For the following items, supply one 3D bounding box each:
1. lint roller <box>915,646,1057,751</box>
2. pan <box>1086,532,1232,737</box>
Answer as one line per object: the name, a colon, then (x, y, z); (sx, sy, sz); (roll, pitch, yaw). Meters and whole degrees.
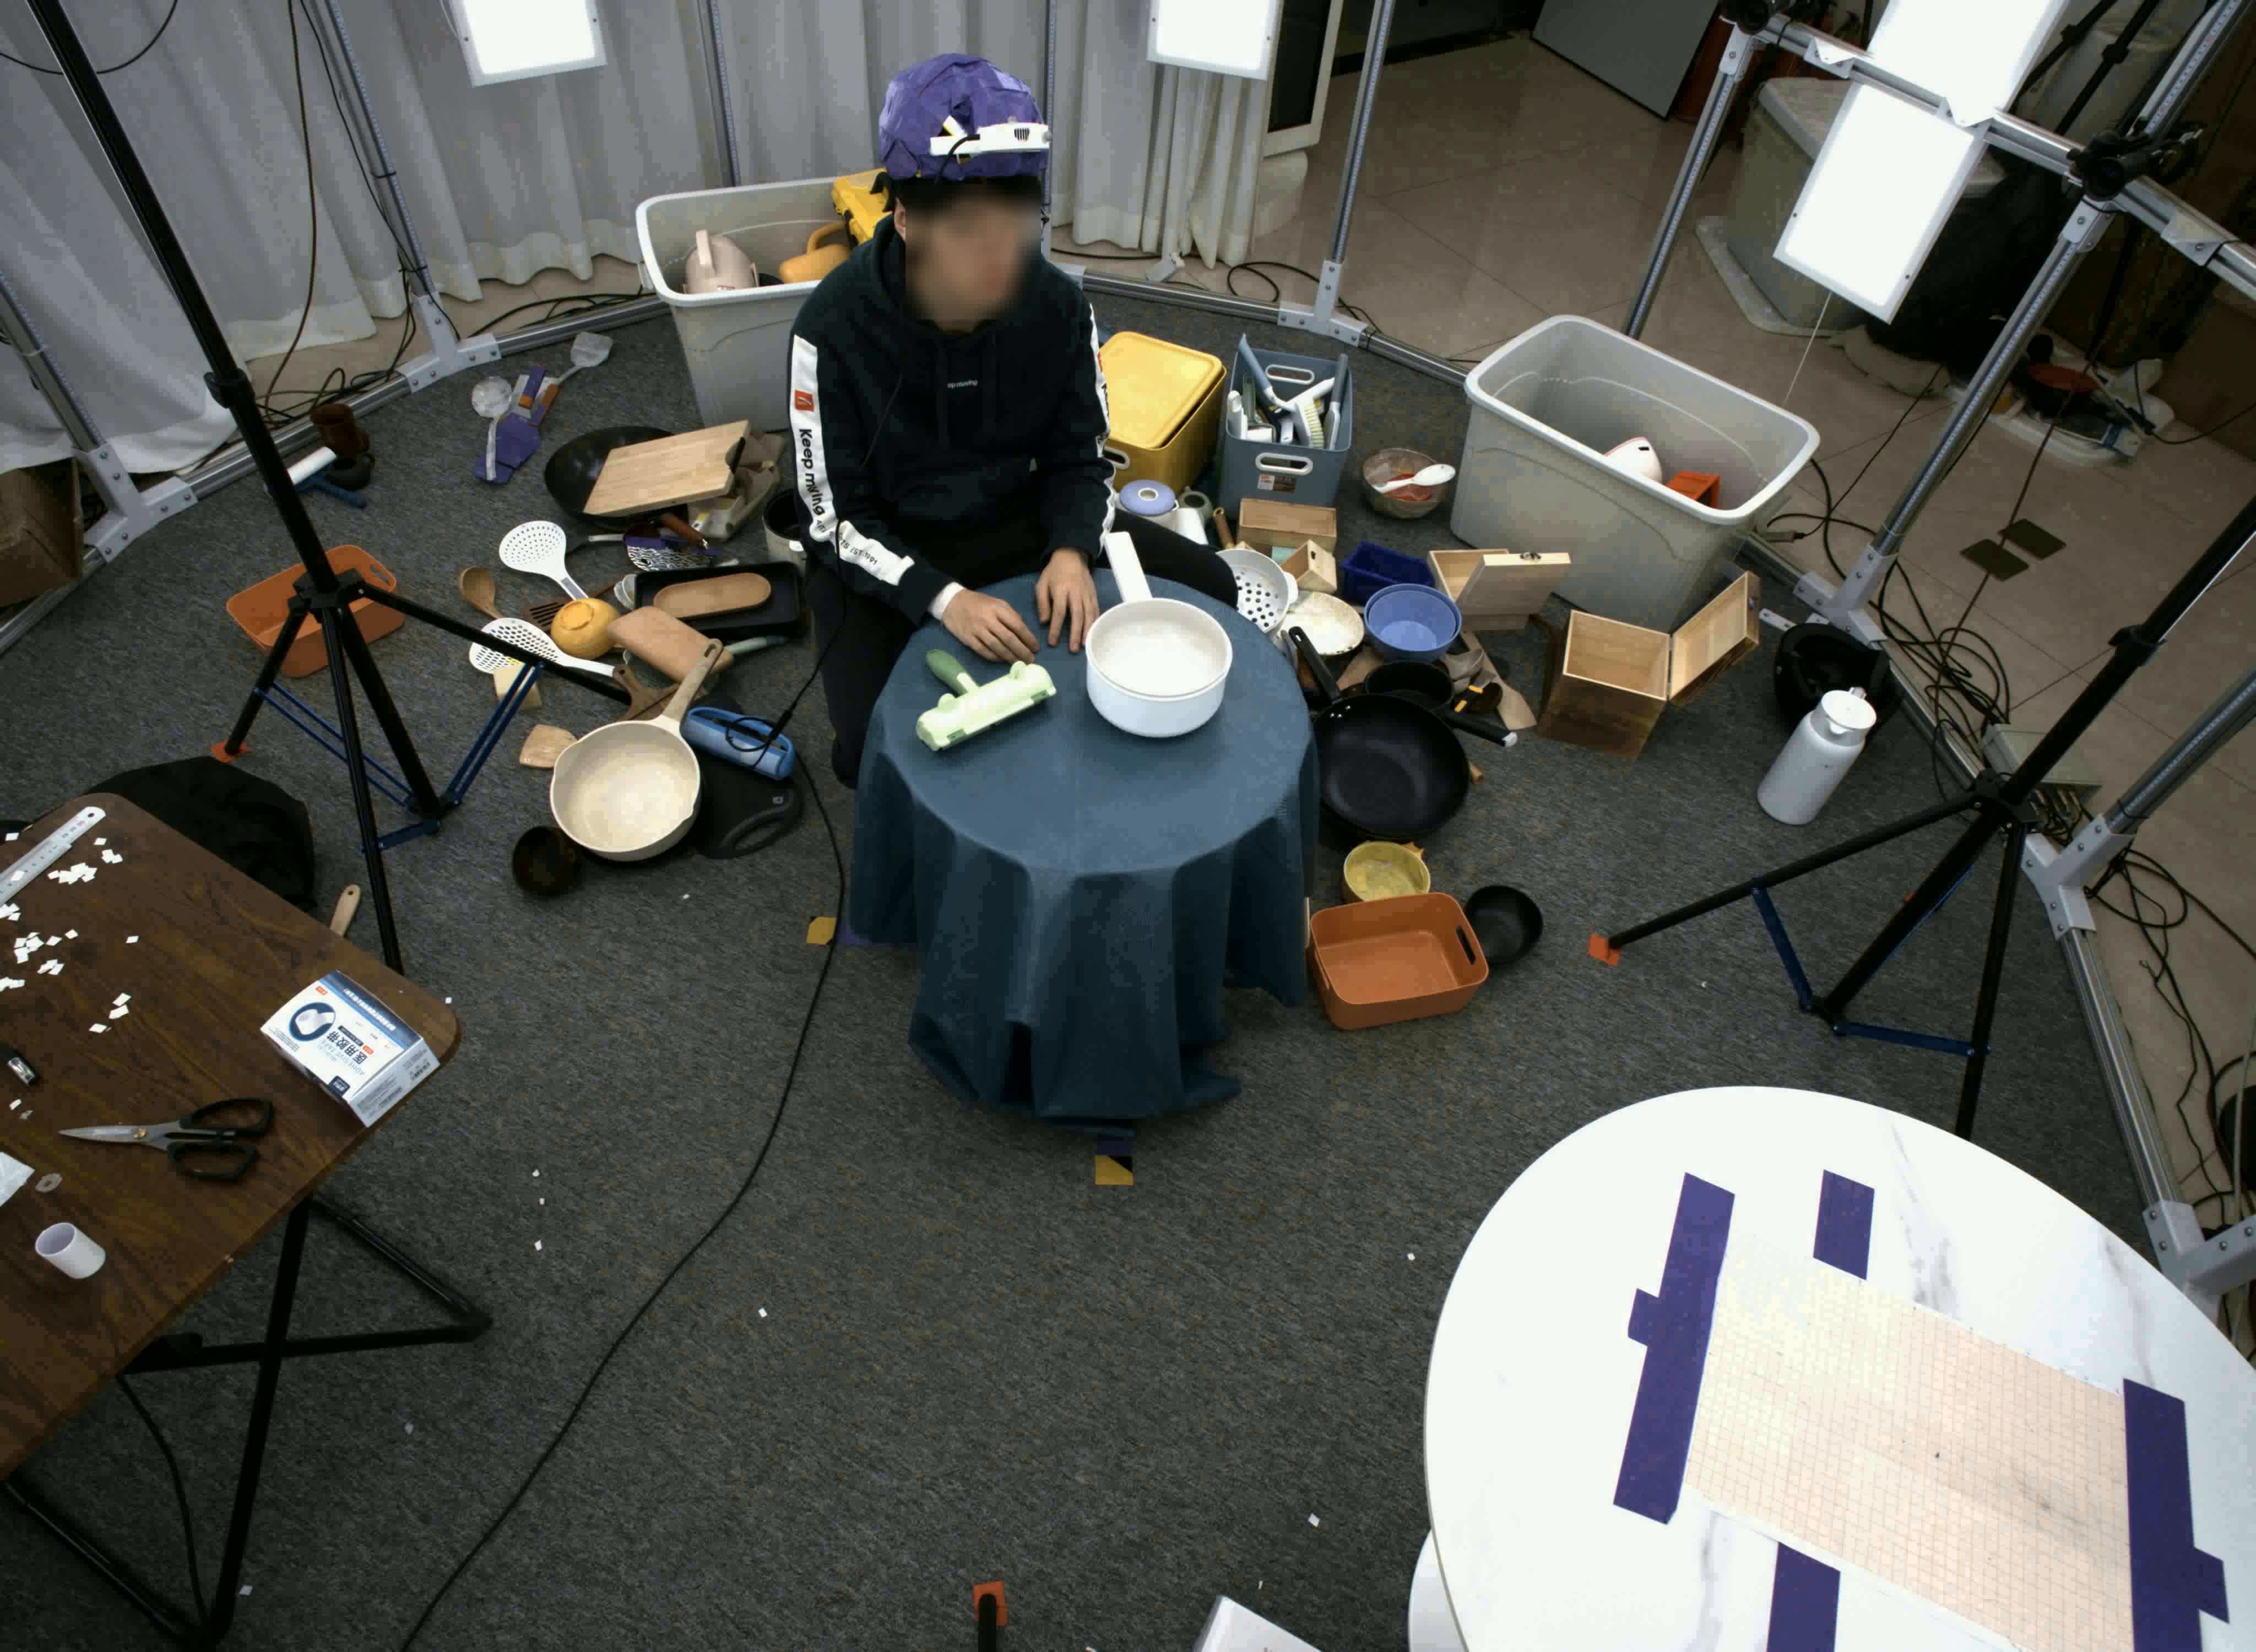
lint roller: (-0.227, -0.207, 1.784); (0.199, 0.080, 0.186); (-28, 62, -24)
pan: (0.024, -0.275, 1.844); (0.201, 0.099, 0.364); (-8, 49, -10)
